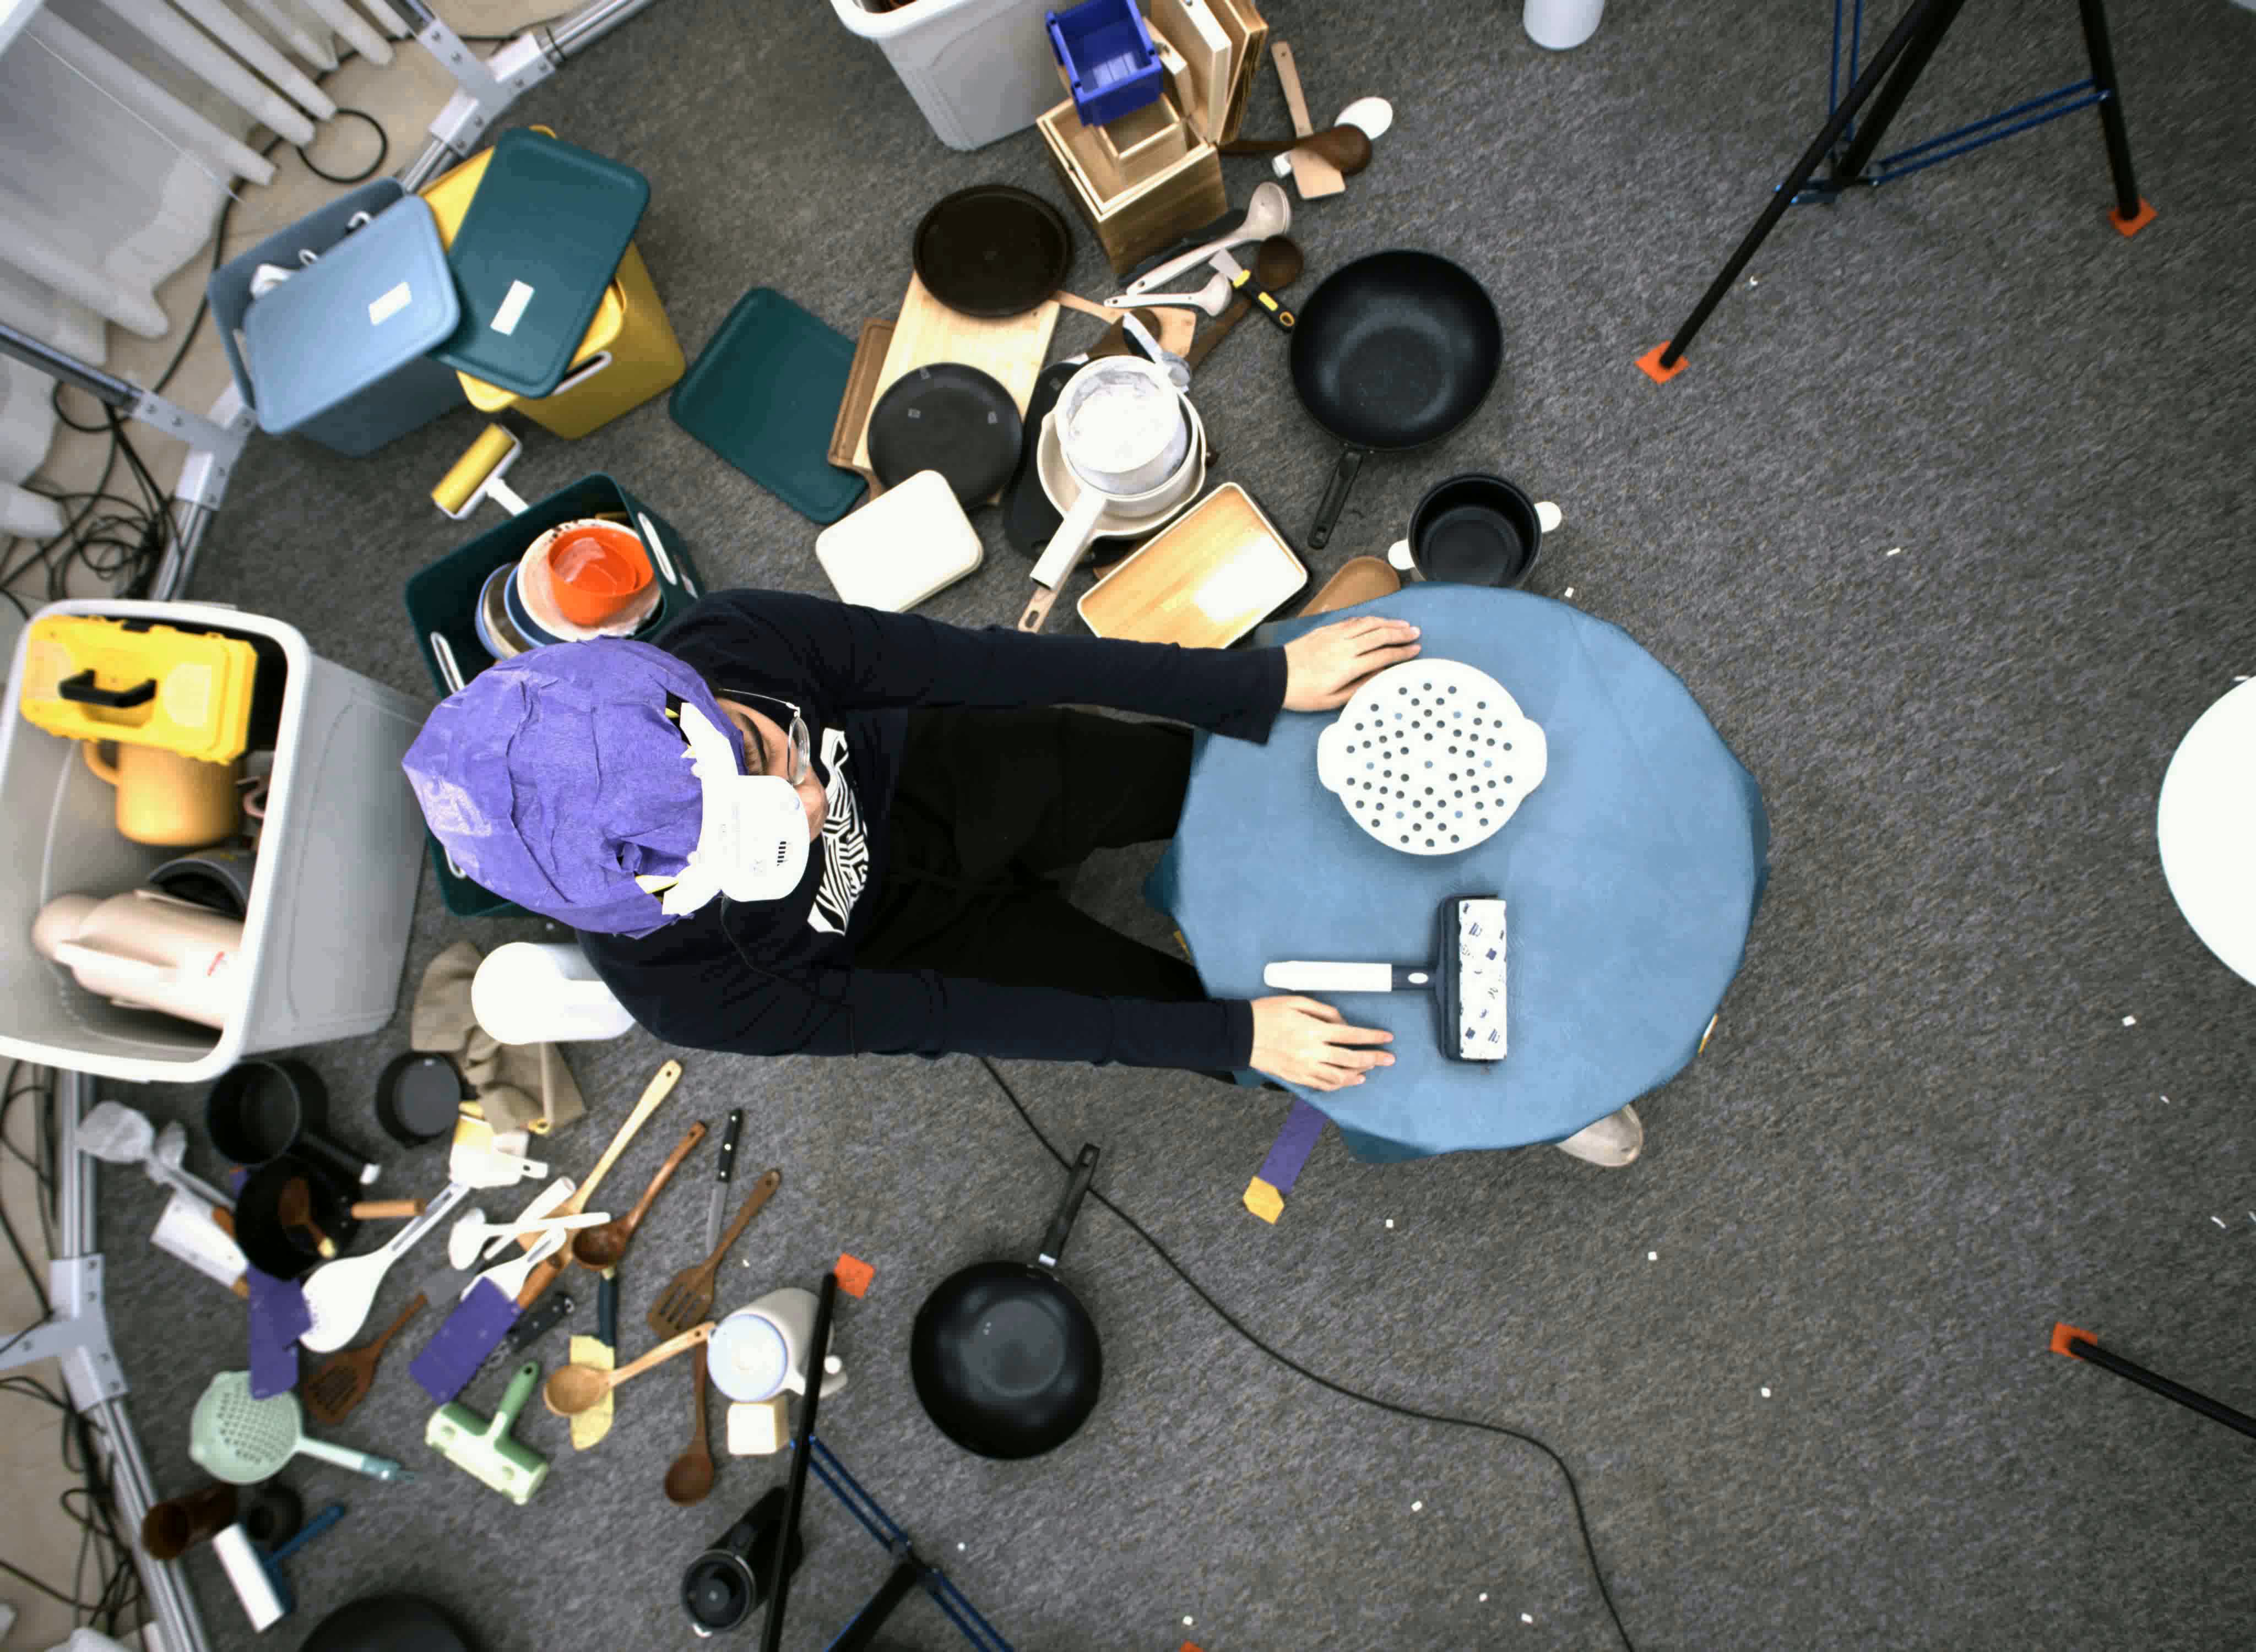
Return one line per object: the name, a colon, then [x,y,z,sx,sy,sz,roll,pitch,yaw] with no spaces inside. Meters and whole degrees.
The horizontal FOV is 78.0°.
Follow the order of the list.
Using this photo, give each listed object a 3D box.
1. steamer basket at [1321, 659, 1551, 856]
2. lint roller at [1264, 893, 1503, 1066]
steamer basket: [0.318,-0.070,1.427,0.231,0.069,0.201,-1,86,14]
lint roller: [0.263,0.158,1.436,0.248,0.050,0.175,-1,87,13]
